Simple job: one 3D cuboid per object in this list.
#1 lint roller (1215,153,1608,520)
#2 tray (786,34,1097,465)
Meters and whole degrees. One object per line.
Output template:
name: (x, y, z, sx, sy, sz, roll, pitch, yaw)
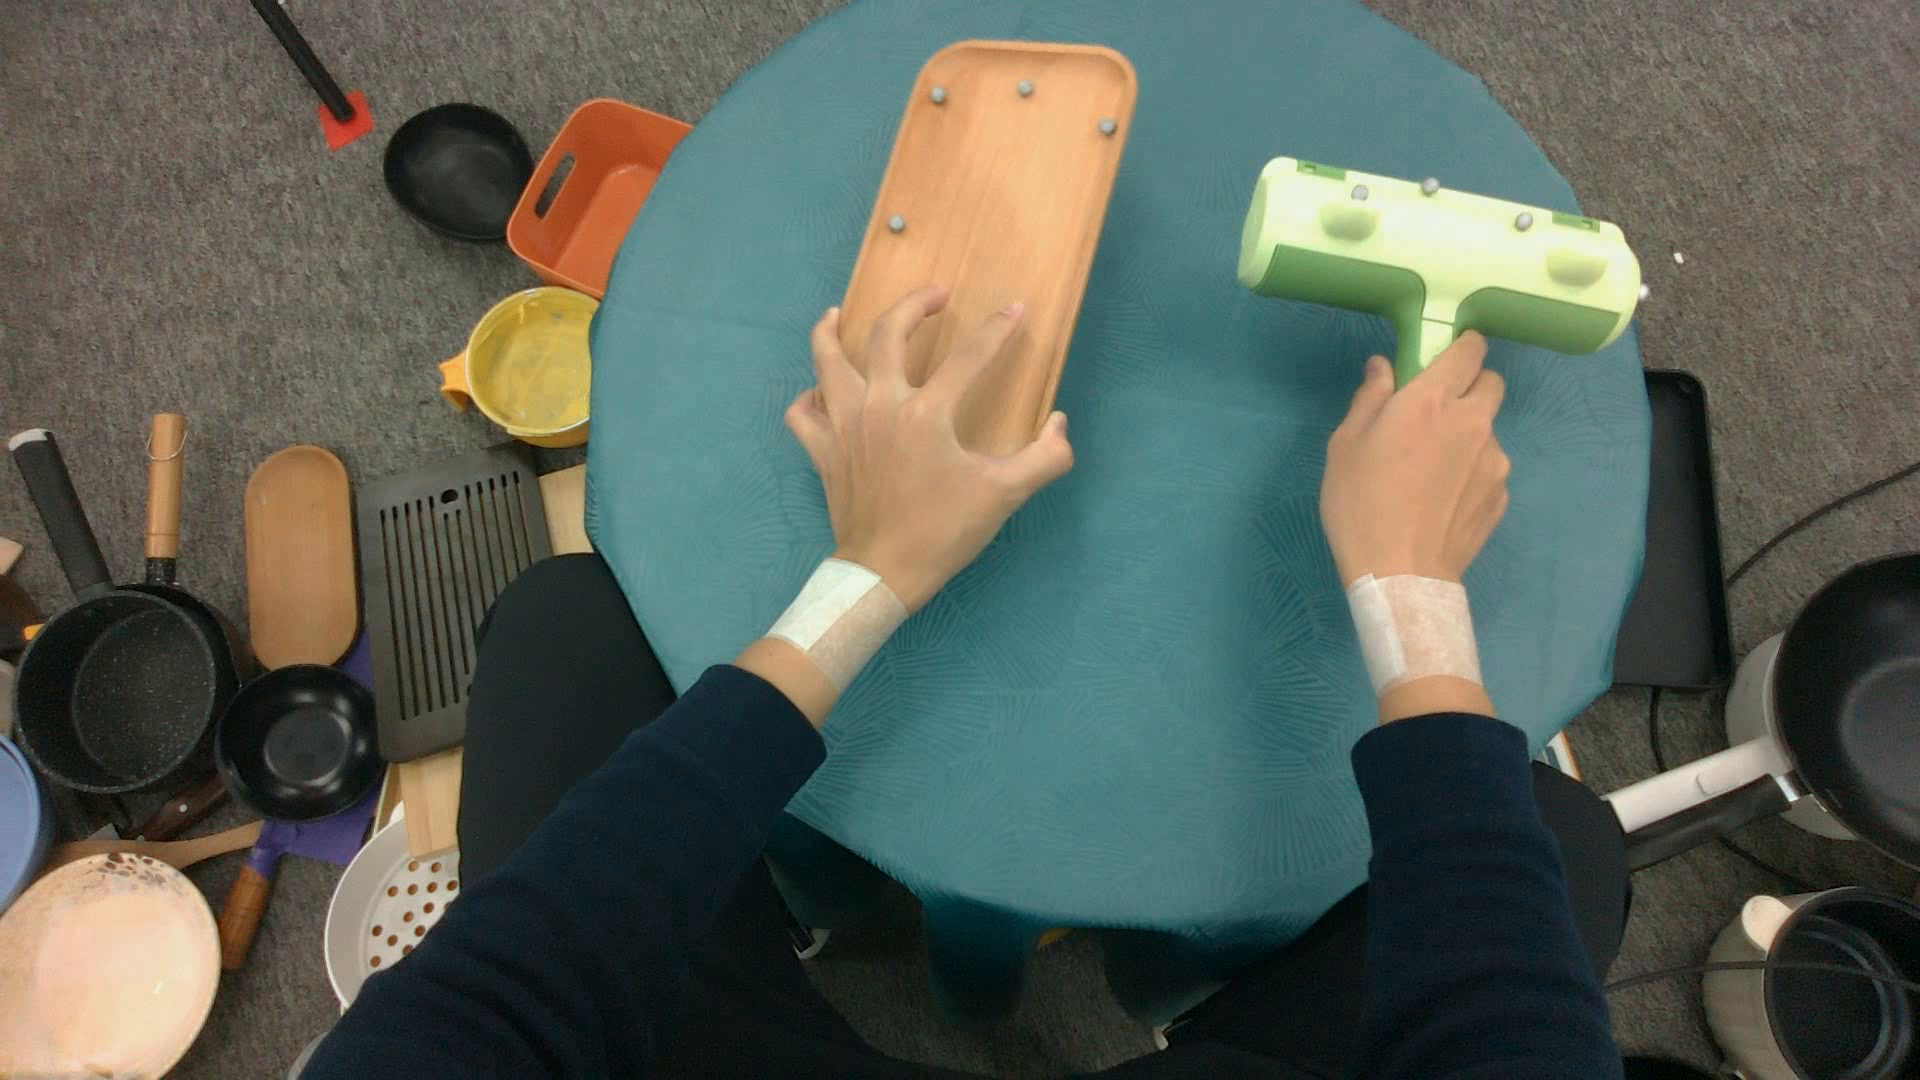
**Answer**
lint roller: (0.228, -0.105, 0.685, 0.198, 0.082, 0.184, 8, 64, -4)
tray: (-0.007, -0.159, 0.732, 0.130, 0.023, 0.251, 8, 74, 18)
